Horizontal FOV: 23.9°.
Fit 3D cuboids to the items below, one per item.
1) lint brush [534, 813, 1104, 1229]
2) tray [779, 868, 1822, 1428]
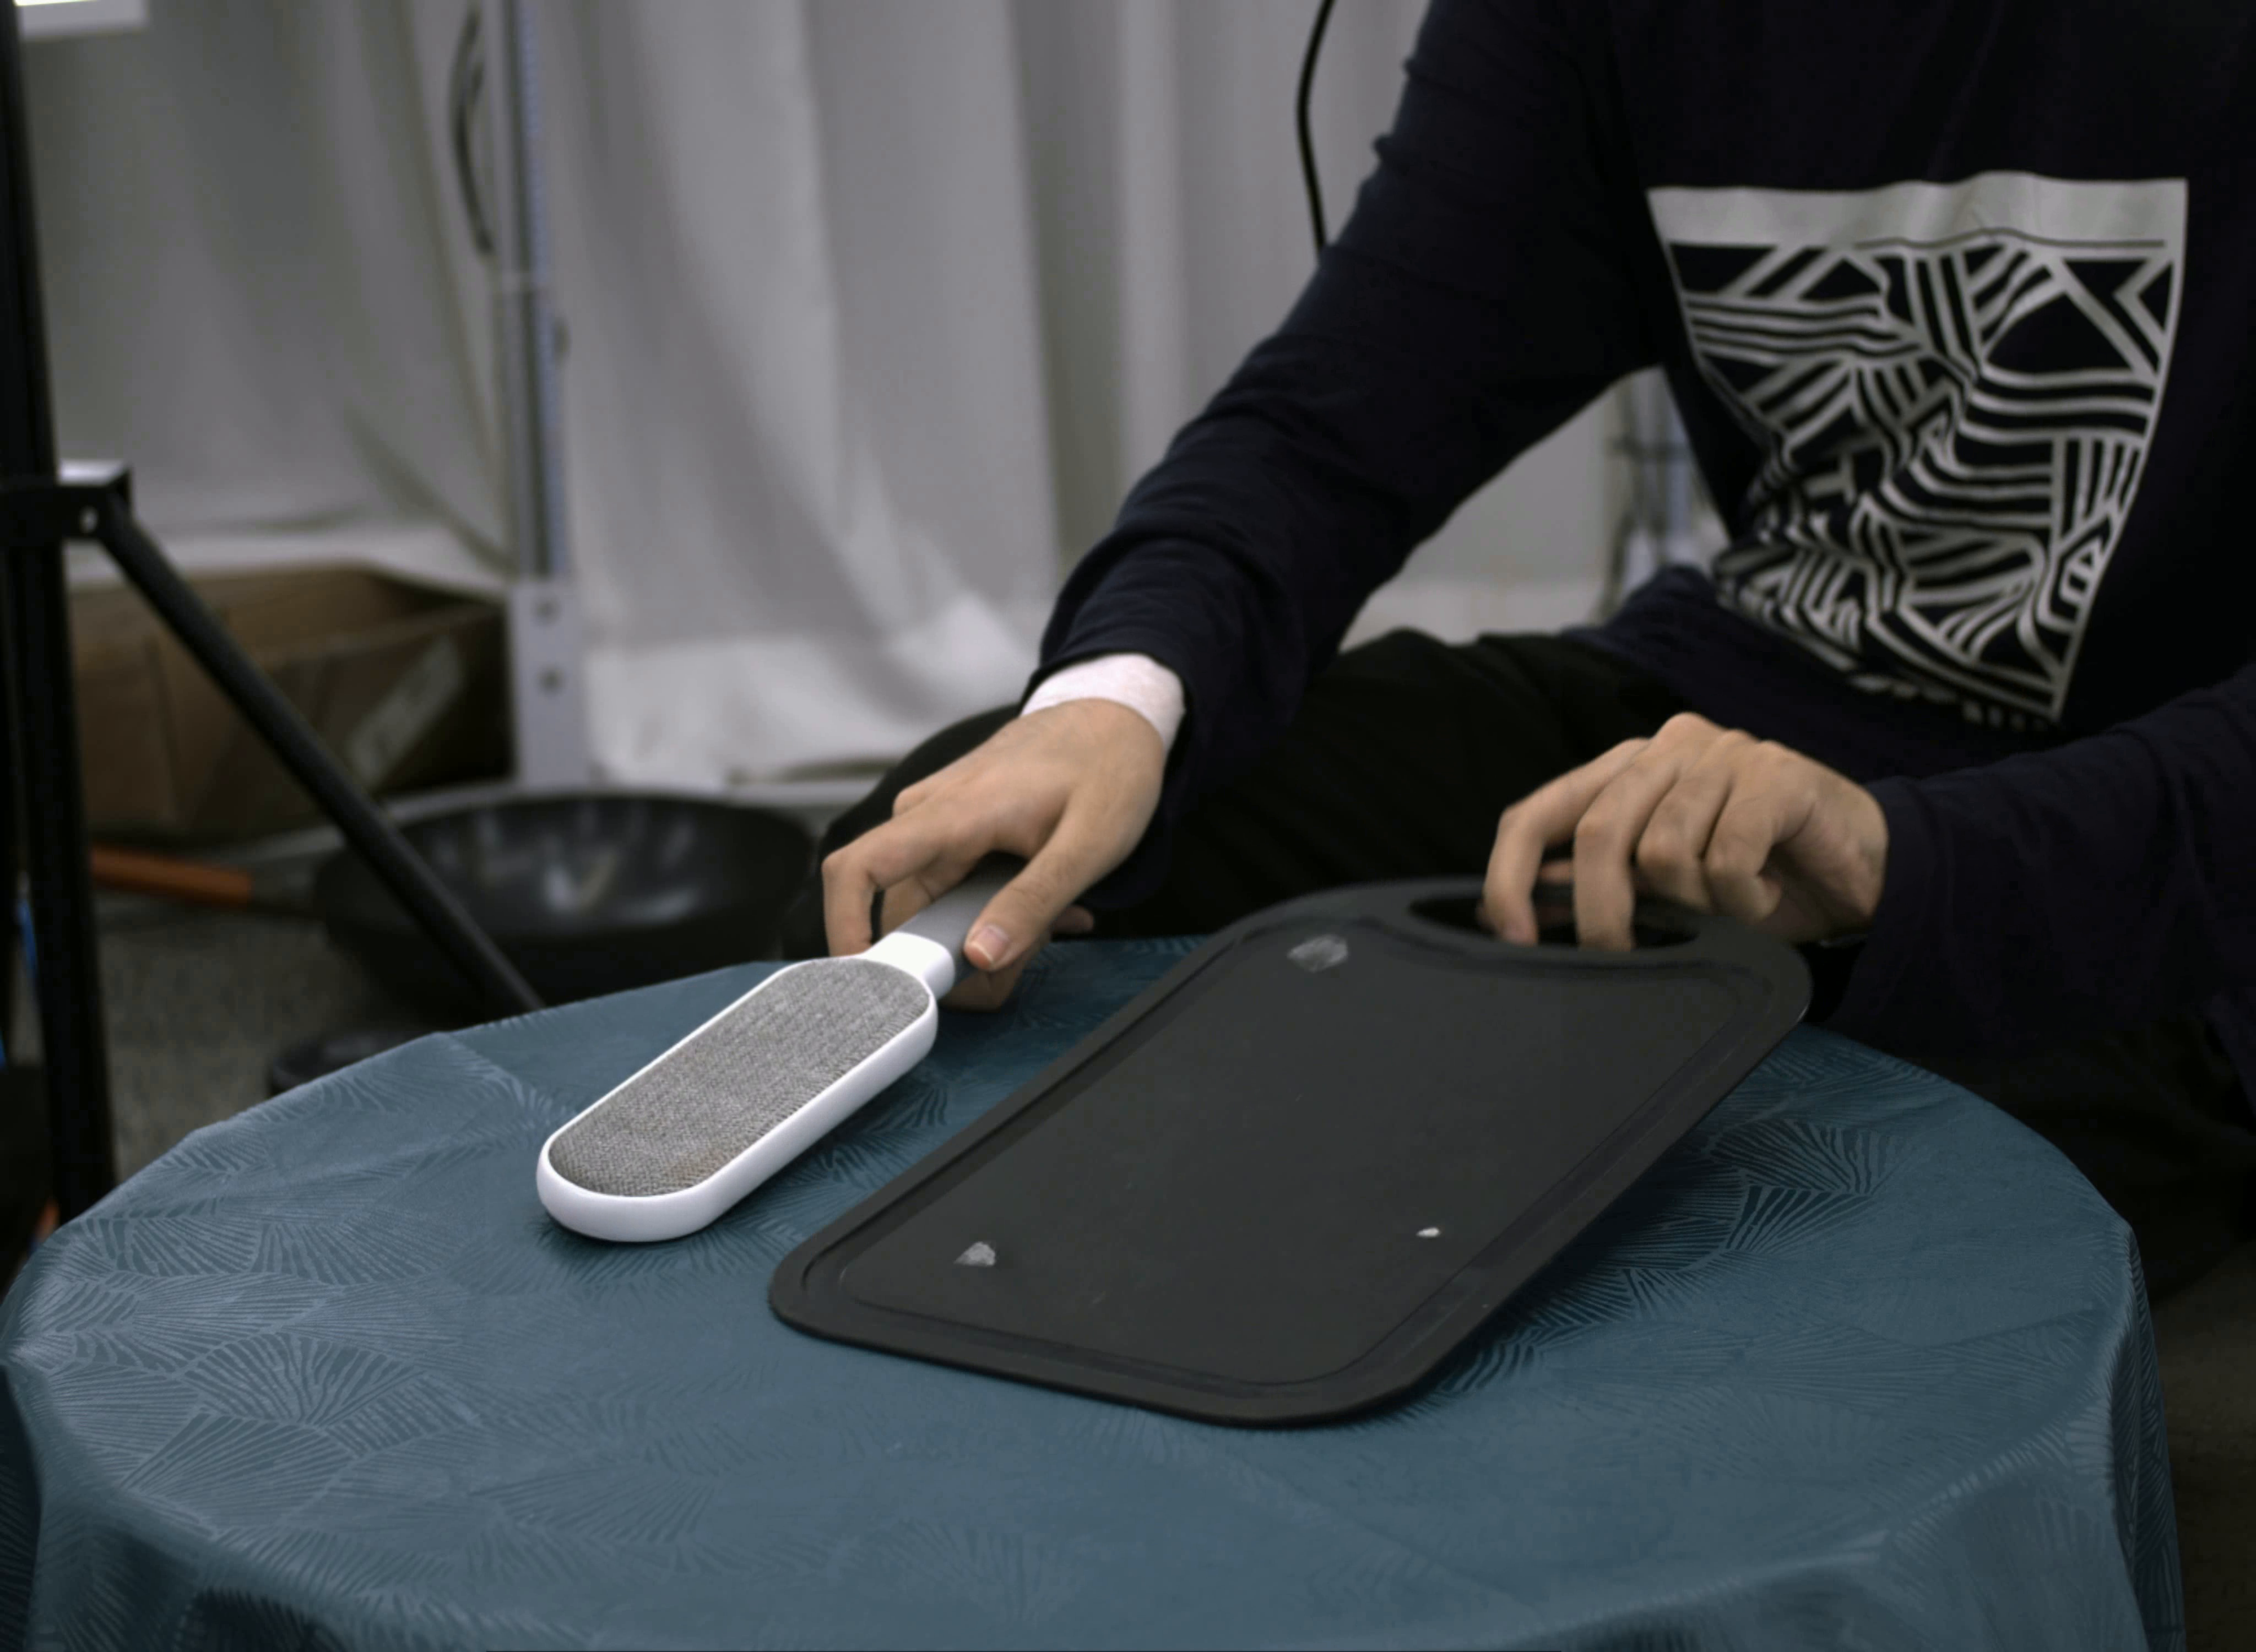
[{"bbox_3d":[-0.086,0.056,1.656,0.061,0.021,0.304,10,26,26],"label":"lint brush"},{"bbox_3d":[0.058,0.081,1.540,0.215,0.010,0.320,9,29,35],"label":"tray"}]
